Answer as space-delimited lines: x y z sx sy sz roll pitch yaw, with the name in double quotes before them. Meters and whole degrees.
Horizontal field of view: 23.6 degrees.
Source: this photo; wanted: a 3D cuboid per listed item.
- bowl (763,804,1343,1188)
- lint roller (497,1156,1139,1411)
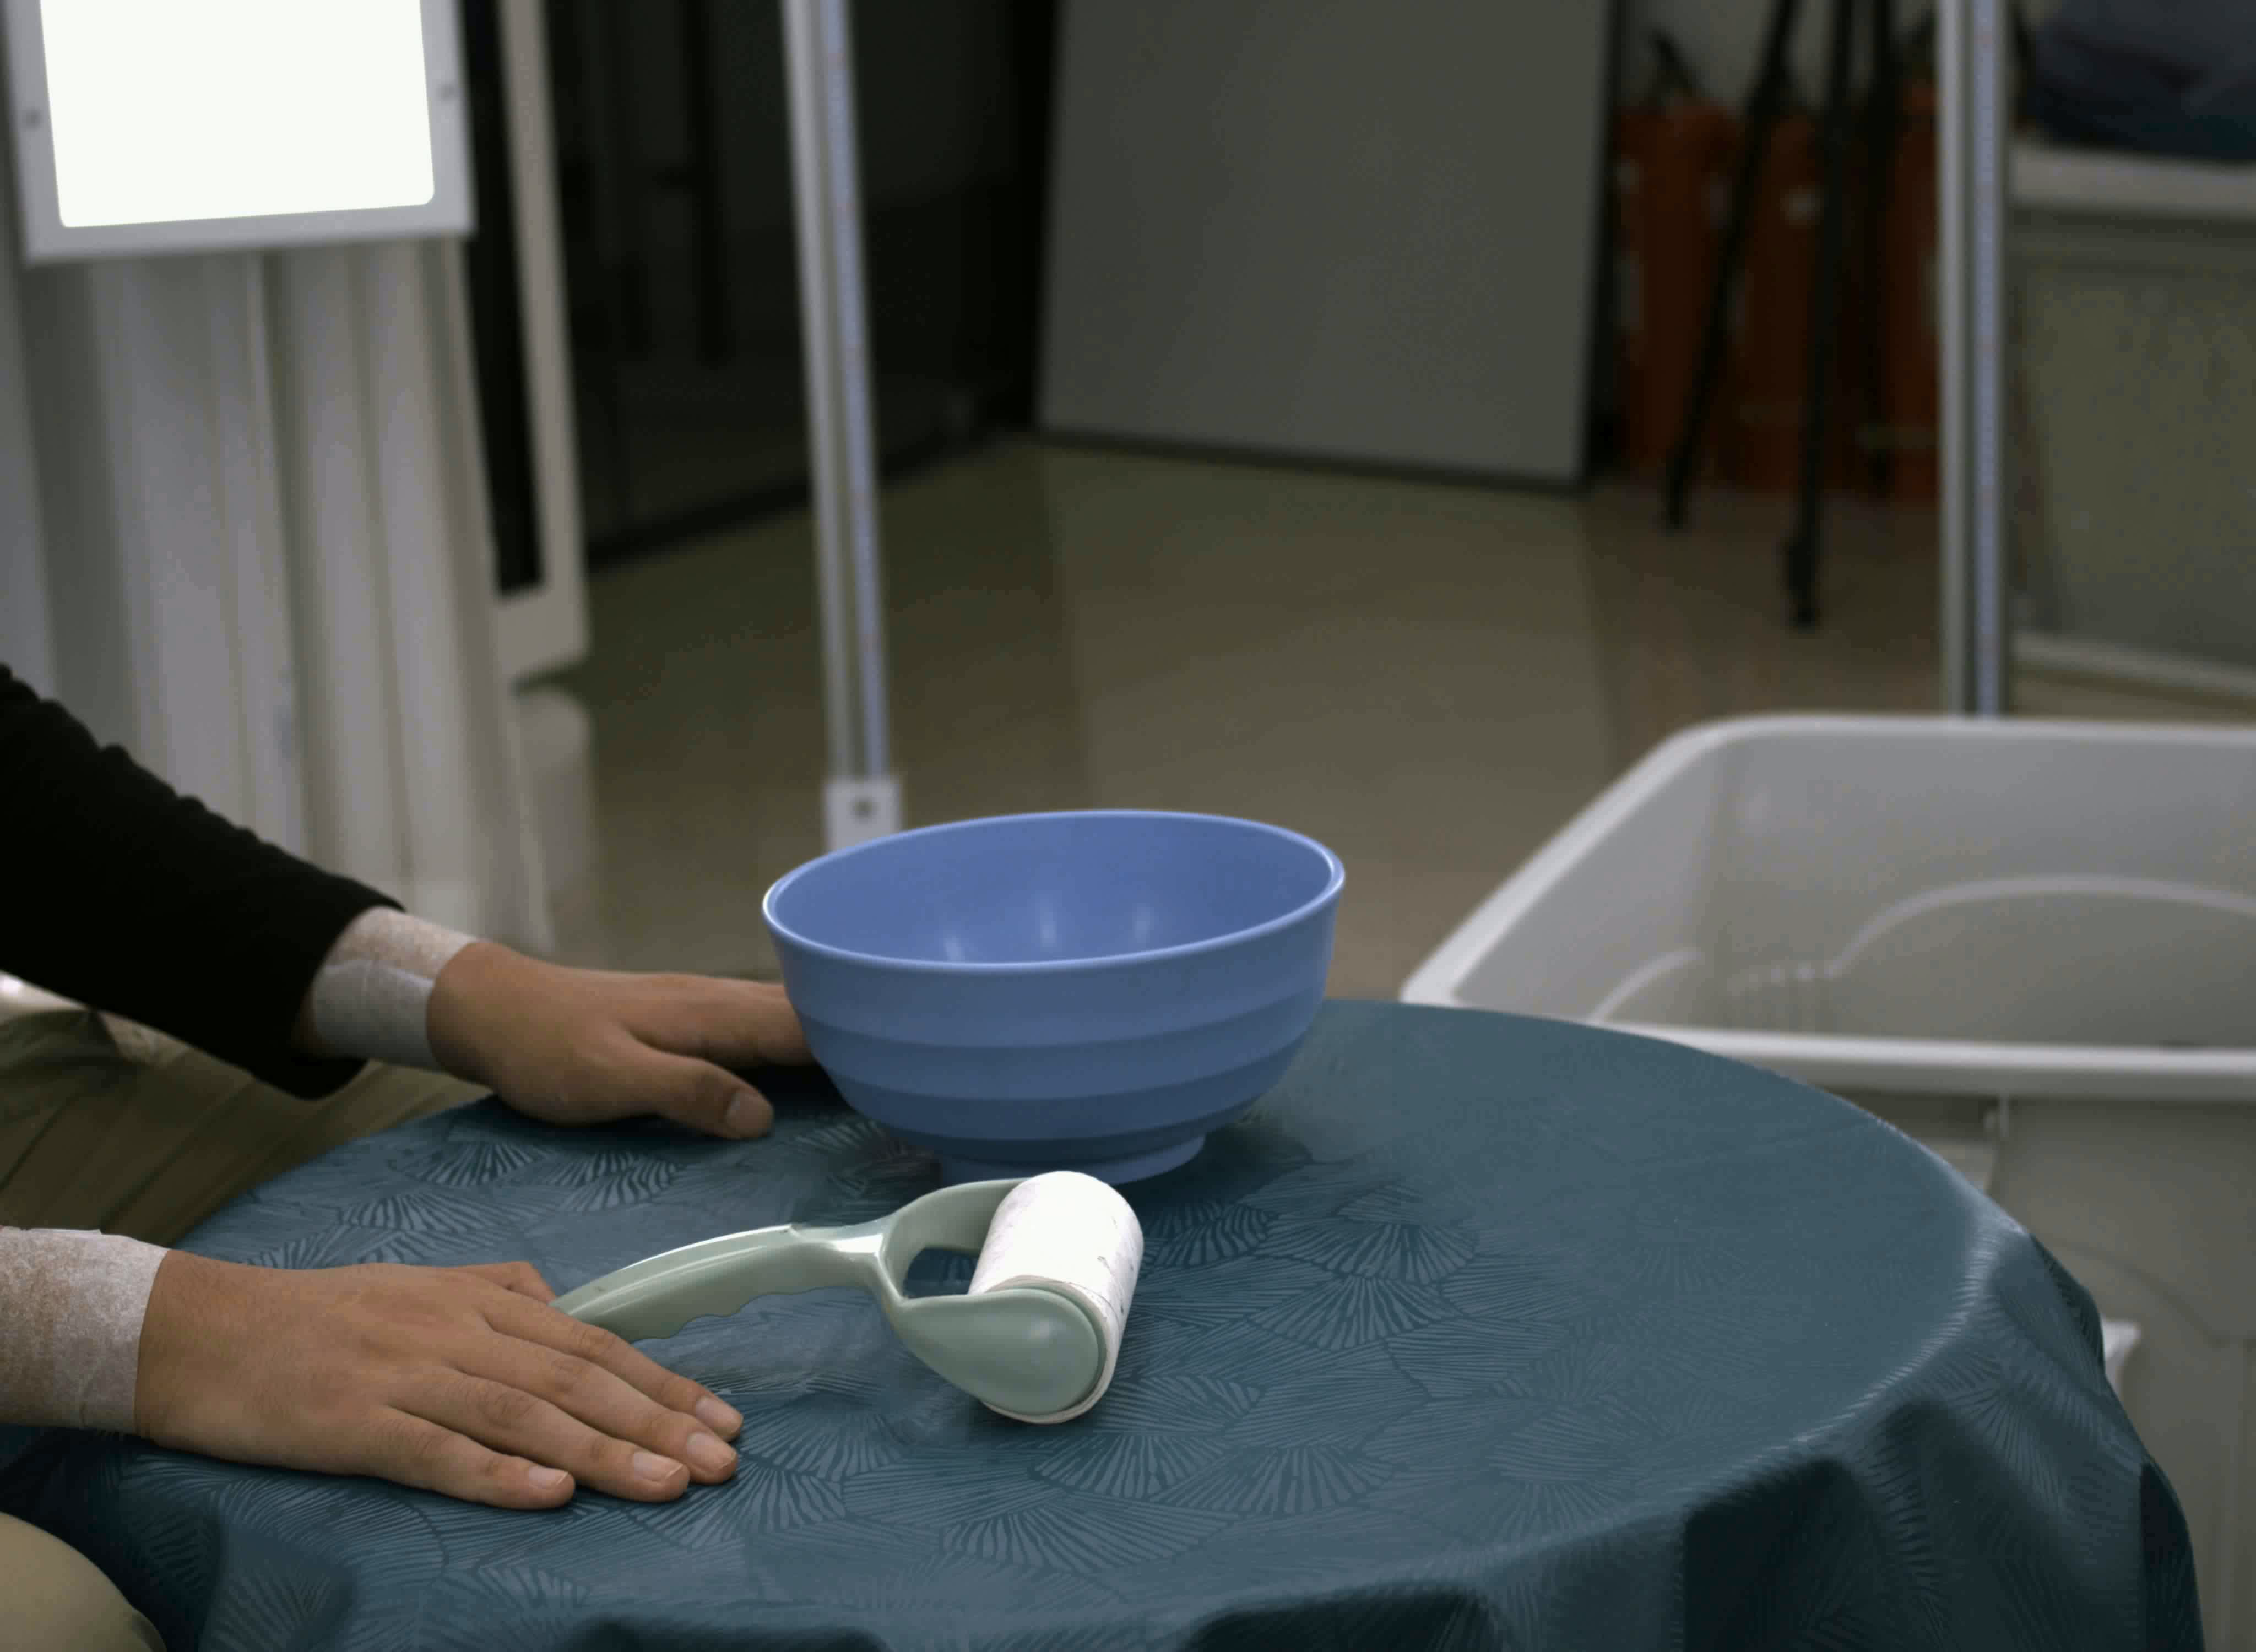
"bowl" -0.022 0.064 1.807 0.194 0.096 0.197 -4 15 0
"lint roller" -0.094 0.142 1.621 0.196 0.049 0.116 -4 15 7
